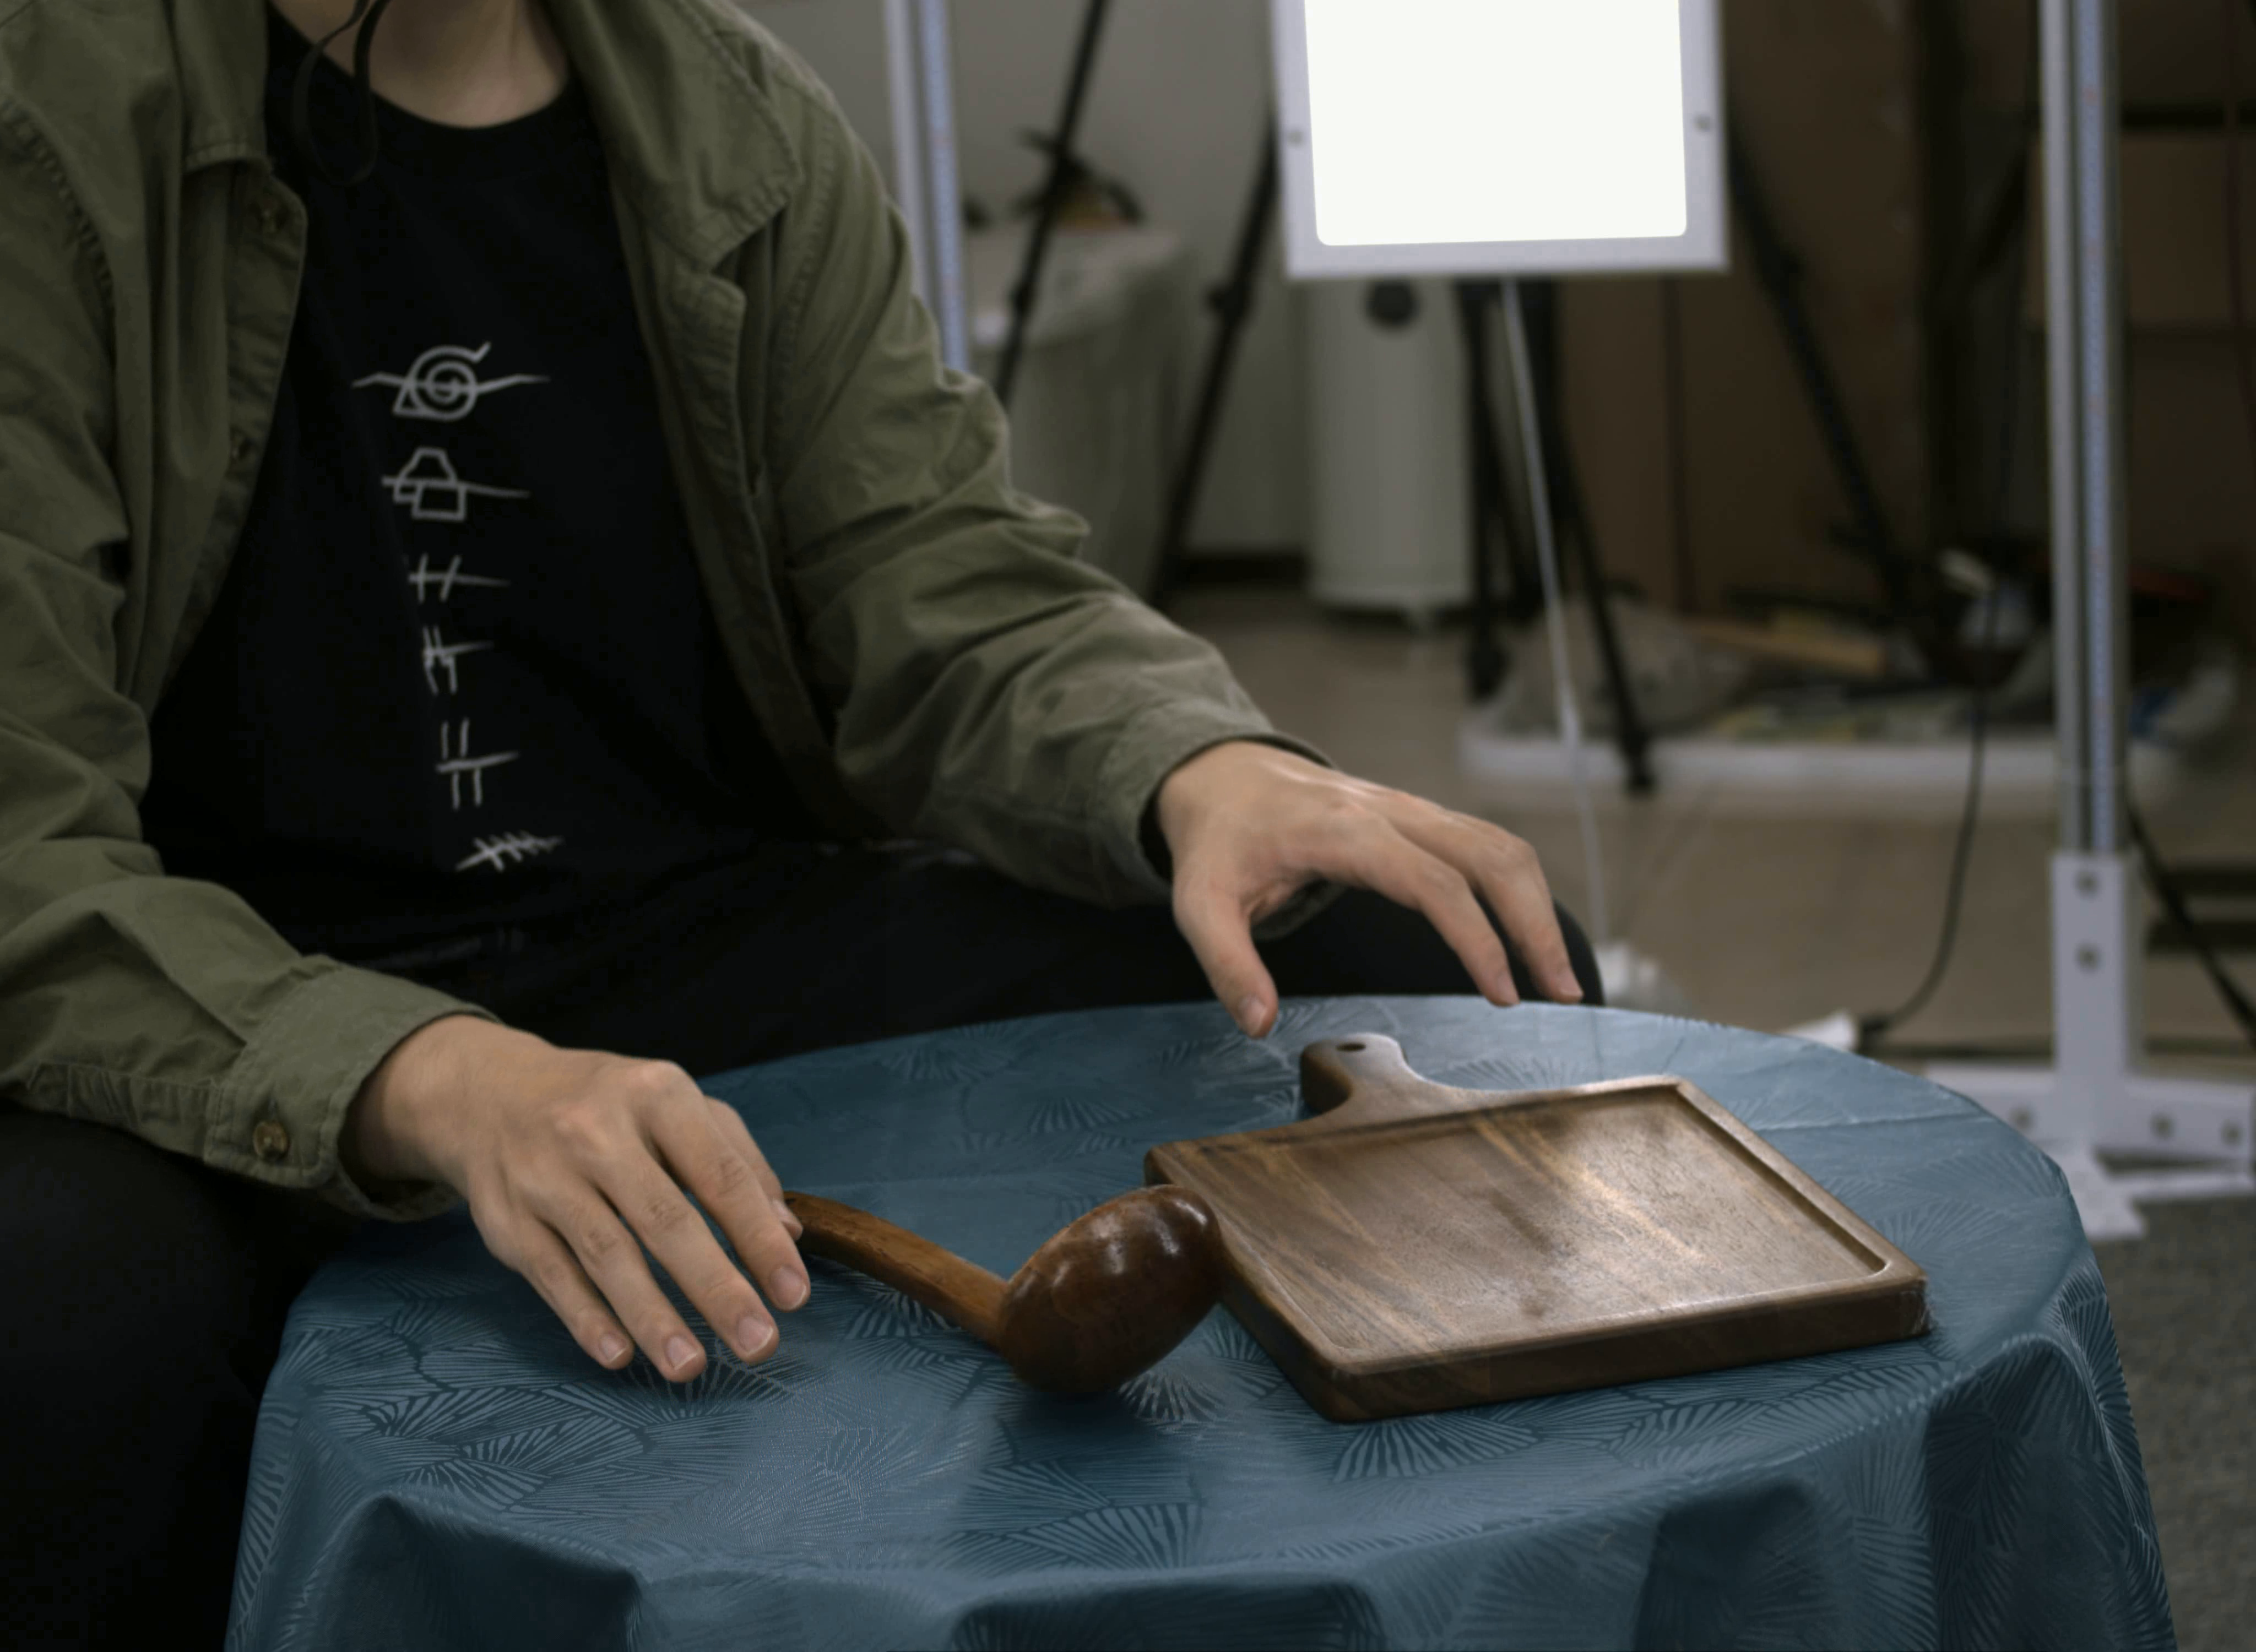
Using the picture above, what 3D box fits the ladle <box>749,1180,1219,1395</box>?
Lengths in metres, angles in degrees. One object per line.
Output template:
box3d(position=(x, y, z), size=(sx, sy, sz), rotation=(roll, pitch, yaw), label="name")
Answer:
box3d(position=(-0.062, 0.125, 1.763), size=(0.080, 0.077, 0.279), rotation=(-18, 17, -26), label="ladle")

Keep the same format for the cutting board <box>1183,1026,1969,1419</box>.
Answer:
box3d(position=(0.130, 0.120, 1.826), size=(0.199, 0.023, 0.354), rotation=(-7, 14, -10), label="cutting board")
